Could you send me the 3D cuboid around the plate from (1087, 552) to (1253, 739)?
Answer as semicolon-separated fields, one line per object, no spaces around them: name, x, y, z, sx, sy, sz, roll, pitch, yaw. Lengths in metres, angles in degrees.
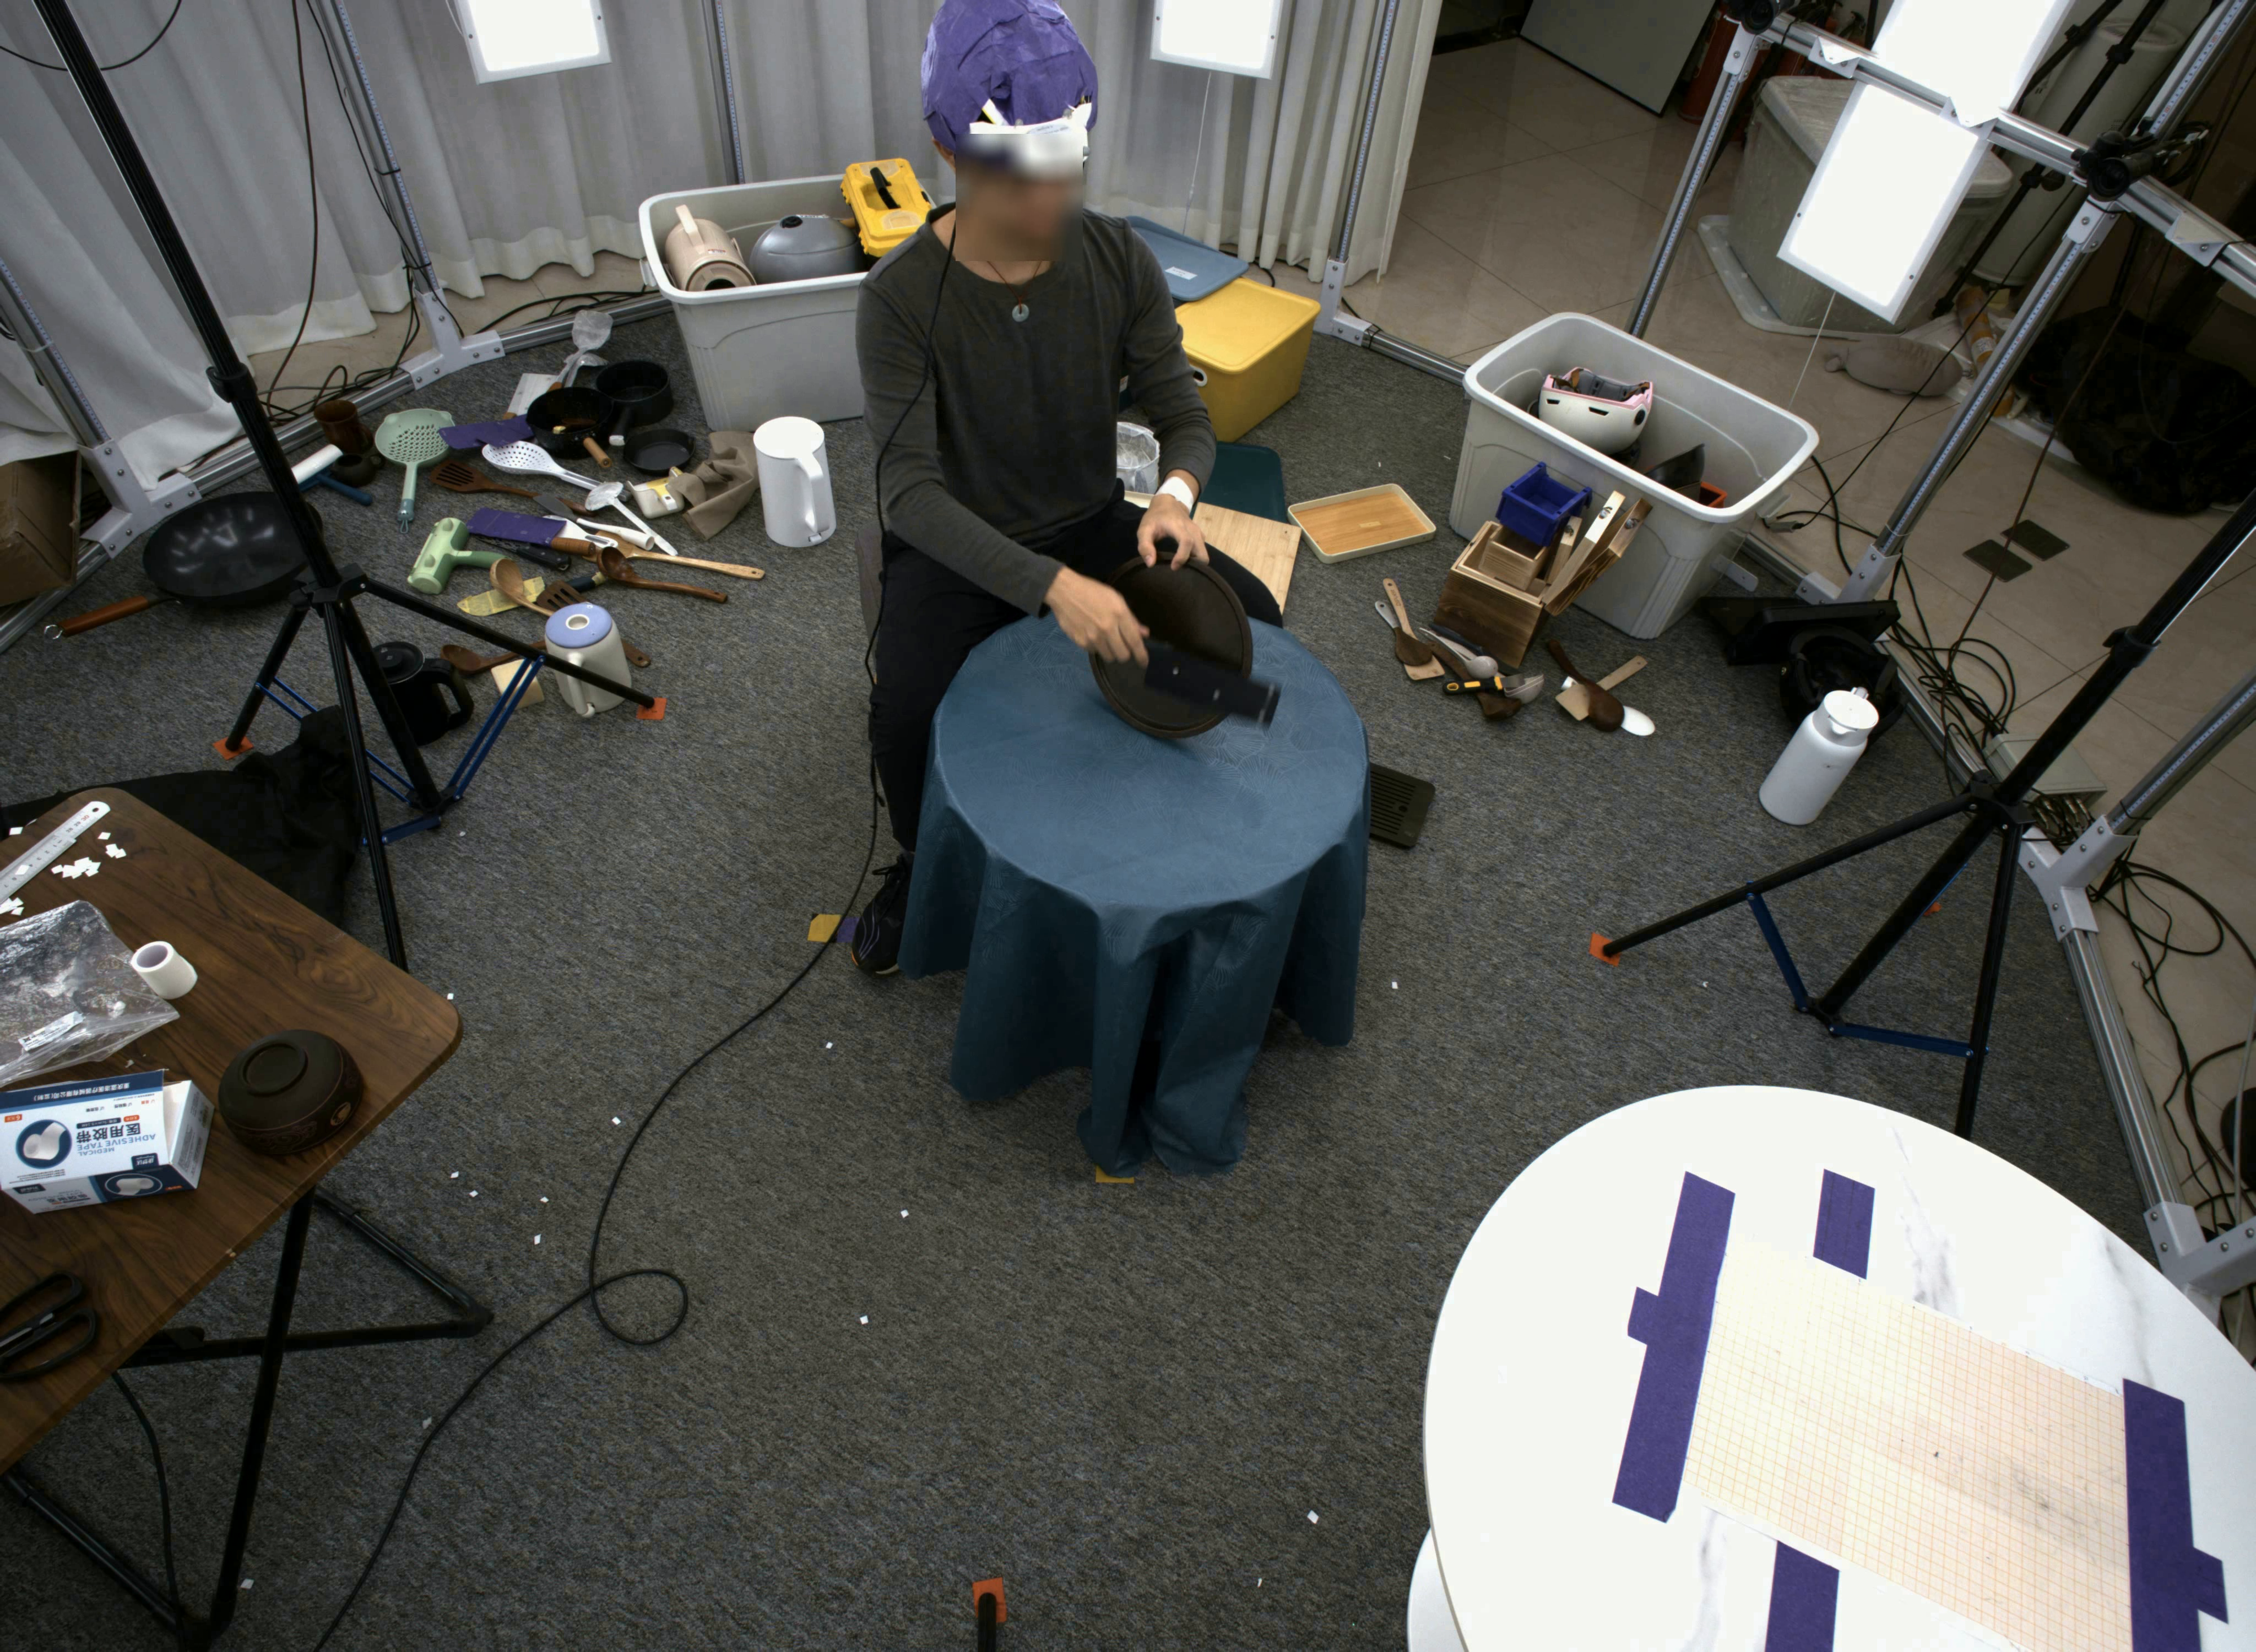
plate;0.056;-0.244;1.739;0.257;0.250;0.029;32;28;21

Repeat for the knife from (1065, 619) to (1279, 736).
knife;0.054;-0.200;1.702;0.303;0.079;0.021;26;30;8
